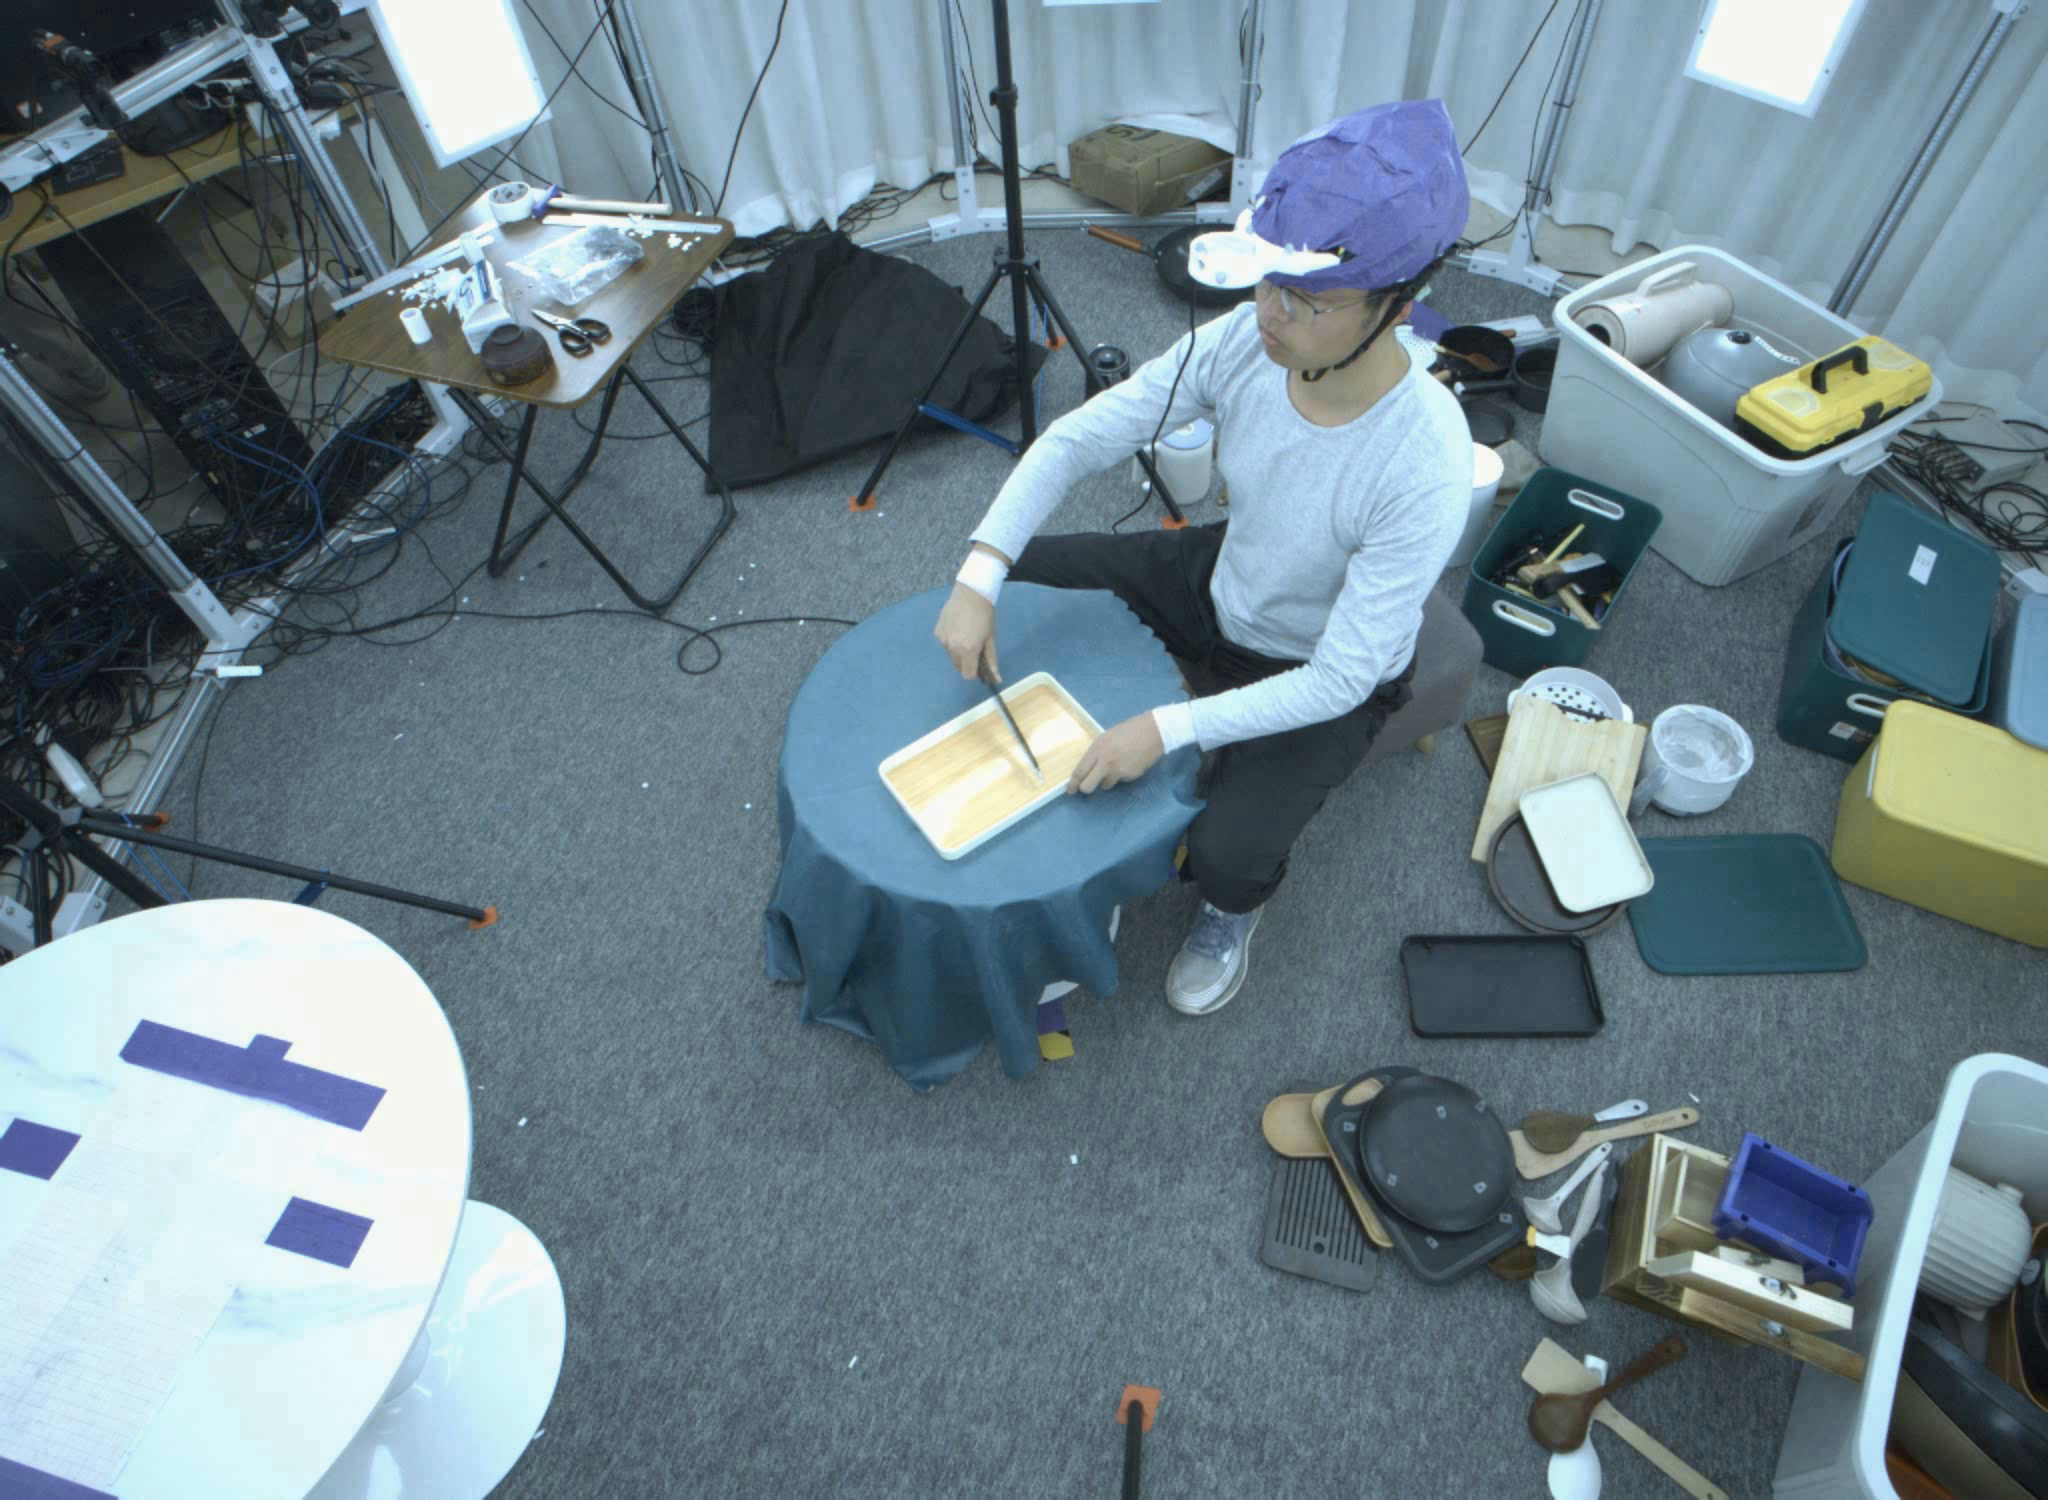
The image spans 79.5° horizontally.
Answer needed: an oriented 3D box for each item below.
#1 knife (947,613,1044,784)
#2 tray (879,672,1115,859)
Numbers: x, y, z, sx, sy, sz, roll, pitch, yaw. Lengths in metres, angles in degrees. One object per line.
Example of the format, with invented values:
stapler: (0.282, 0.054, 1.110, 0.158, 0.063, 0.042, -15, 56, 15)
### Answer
knife: (-0.039, -0.075, 1.768, 0.020, 0.050, 0.286, -26, 77, -13)
tray: (-0.038, 0.017, 1.768, 0.303, 0.028, 0.188, -31, 59, -19)
